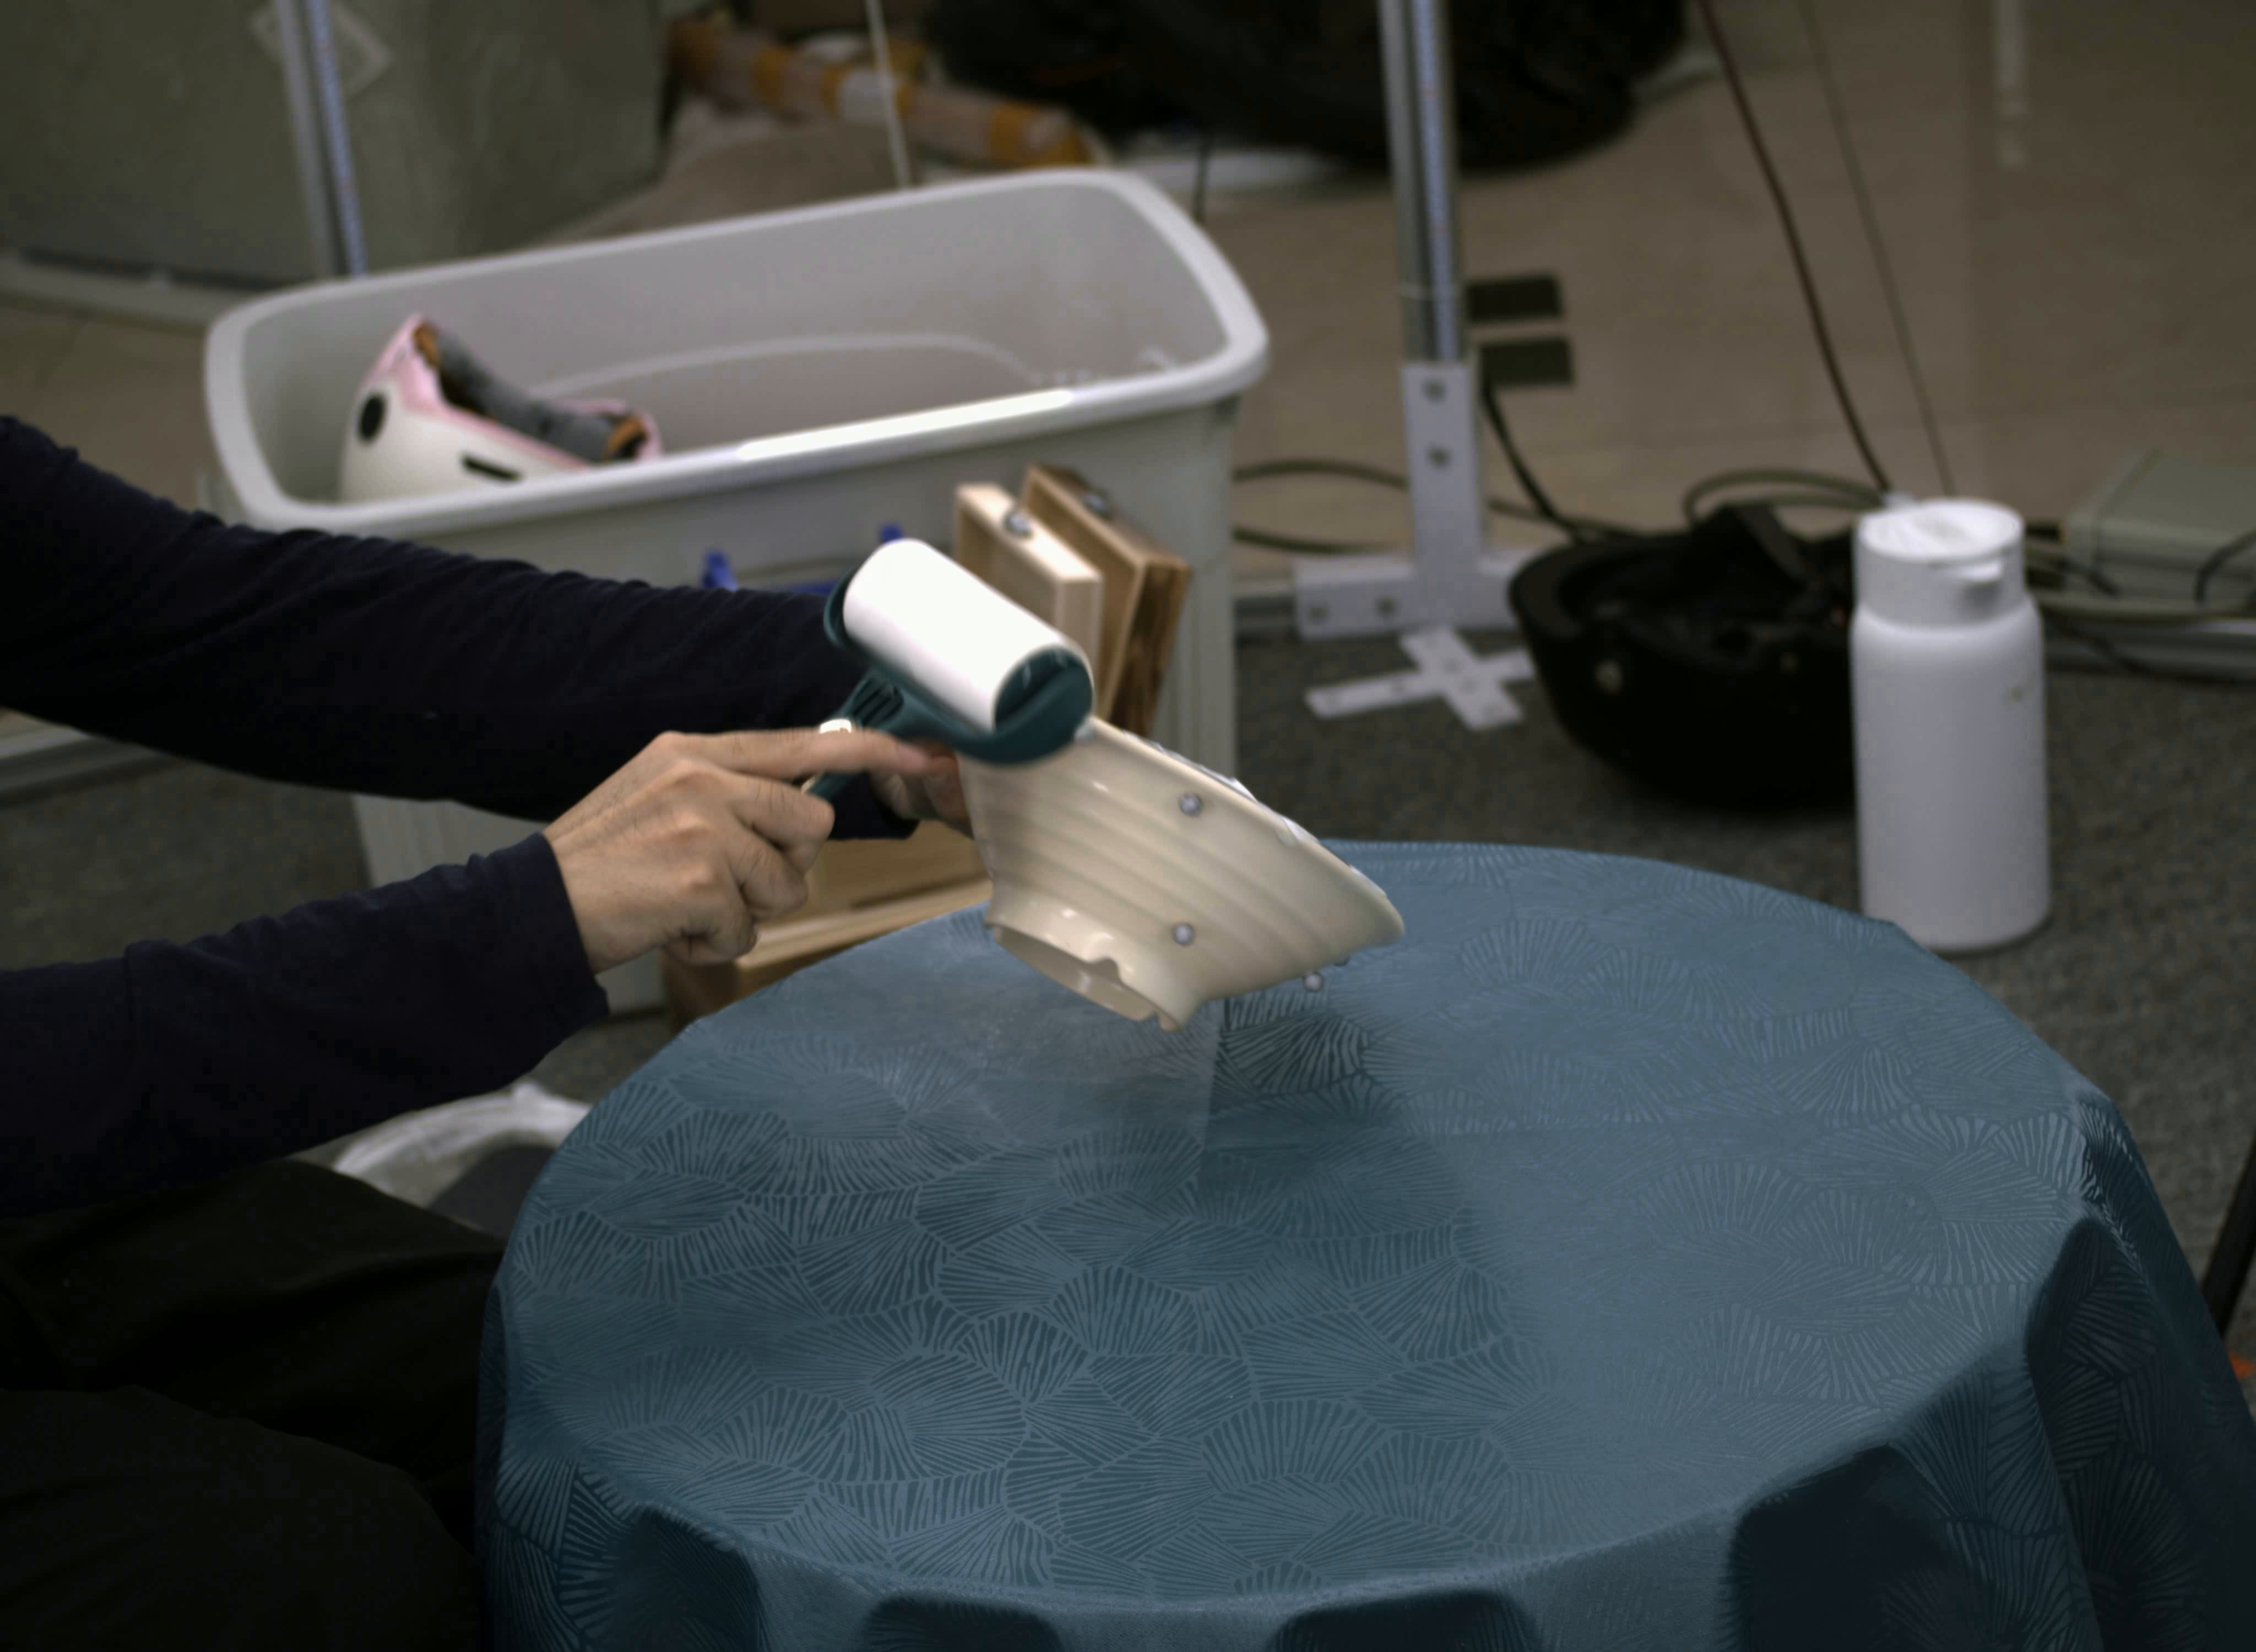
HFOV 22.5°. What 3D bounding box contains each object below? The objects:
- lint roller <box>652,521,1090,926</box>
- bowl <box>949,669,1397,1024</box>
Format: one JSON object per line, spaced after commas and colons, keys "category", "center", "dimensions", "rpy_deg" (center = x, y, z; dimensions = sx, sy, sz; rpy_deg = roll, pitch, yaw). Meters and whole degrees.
{"category": "lint roller", "center": [-0.112, -0.033, 2.095], "dimensions": [0.179, 0.049, 0.133], "rpy_deg": [-38, 41, -17]}
{"category": "bowl", "center": [-0.003, 0.021, 2.179], "dimensions": [0.202, 0.207, 0.077], "rpy_deg": [16, 69, 39]}
